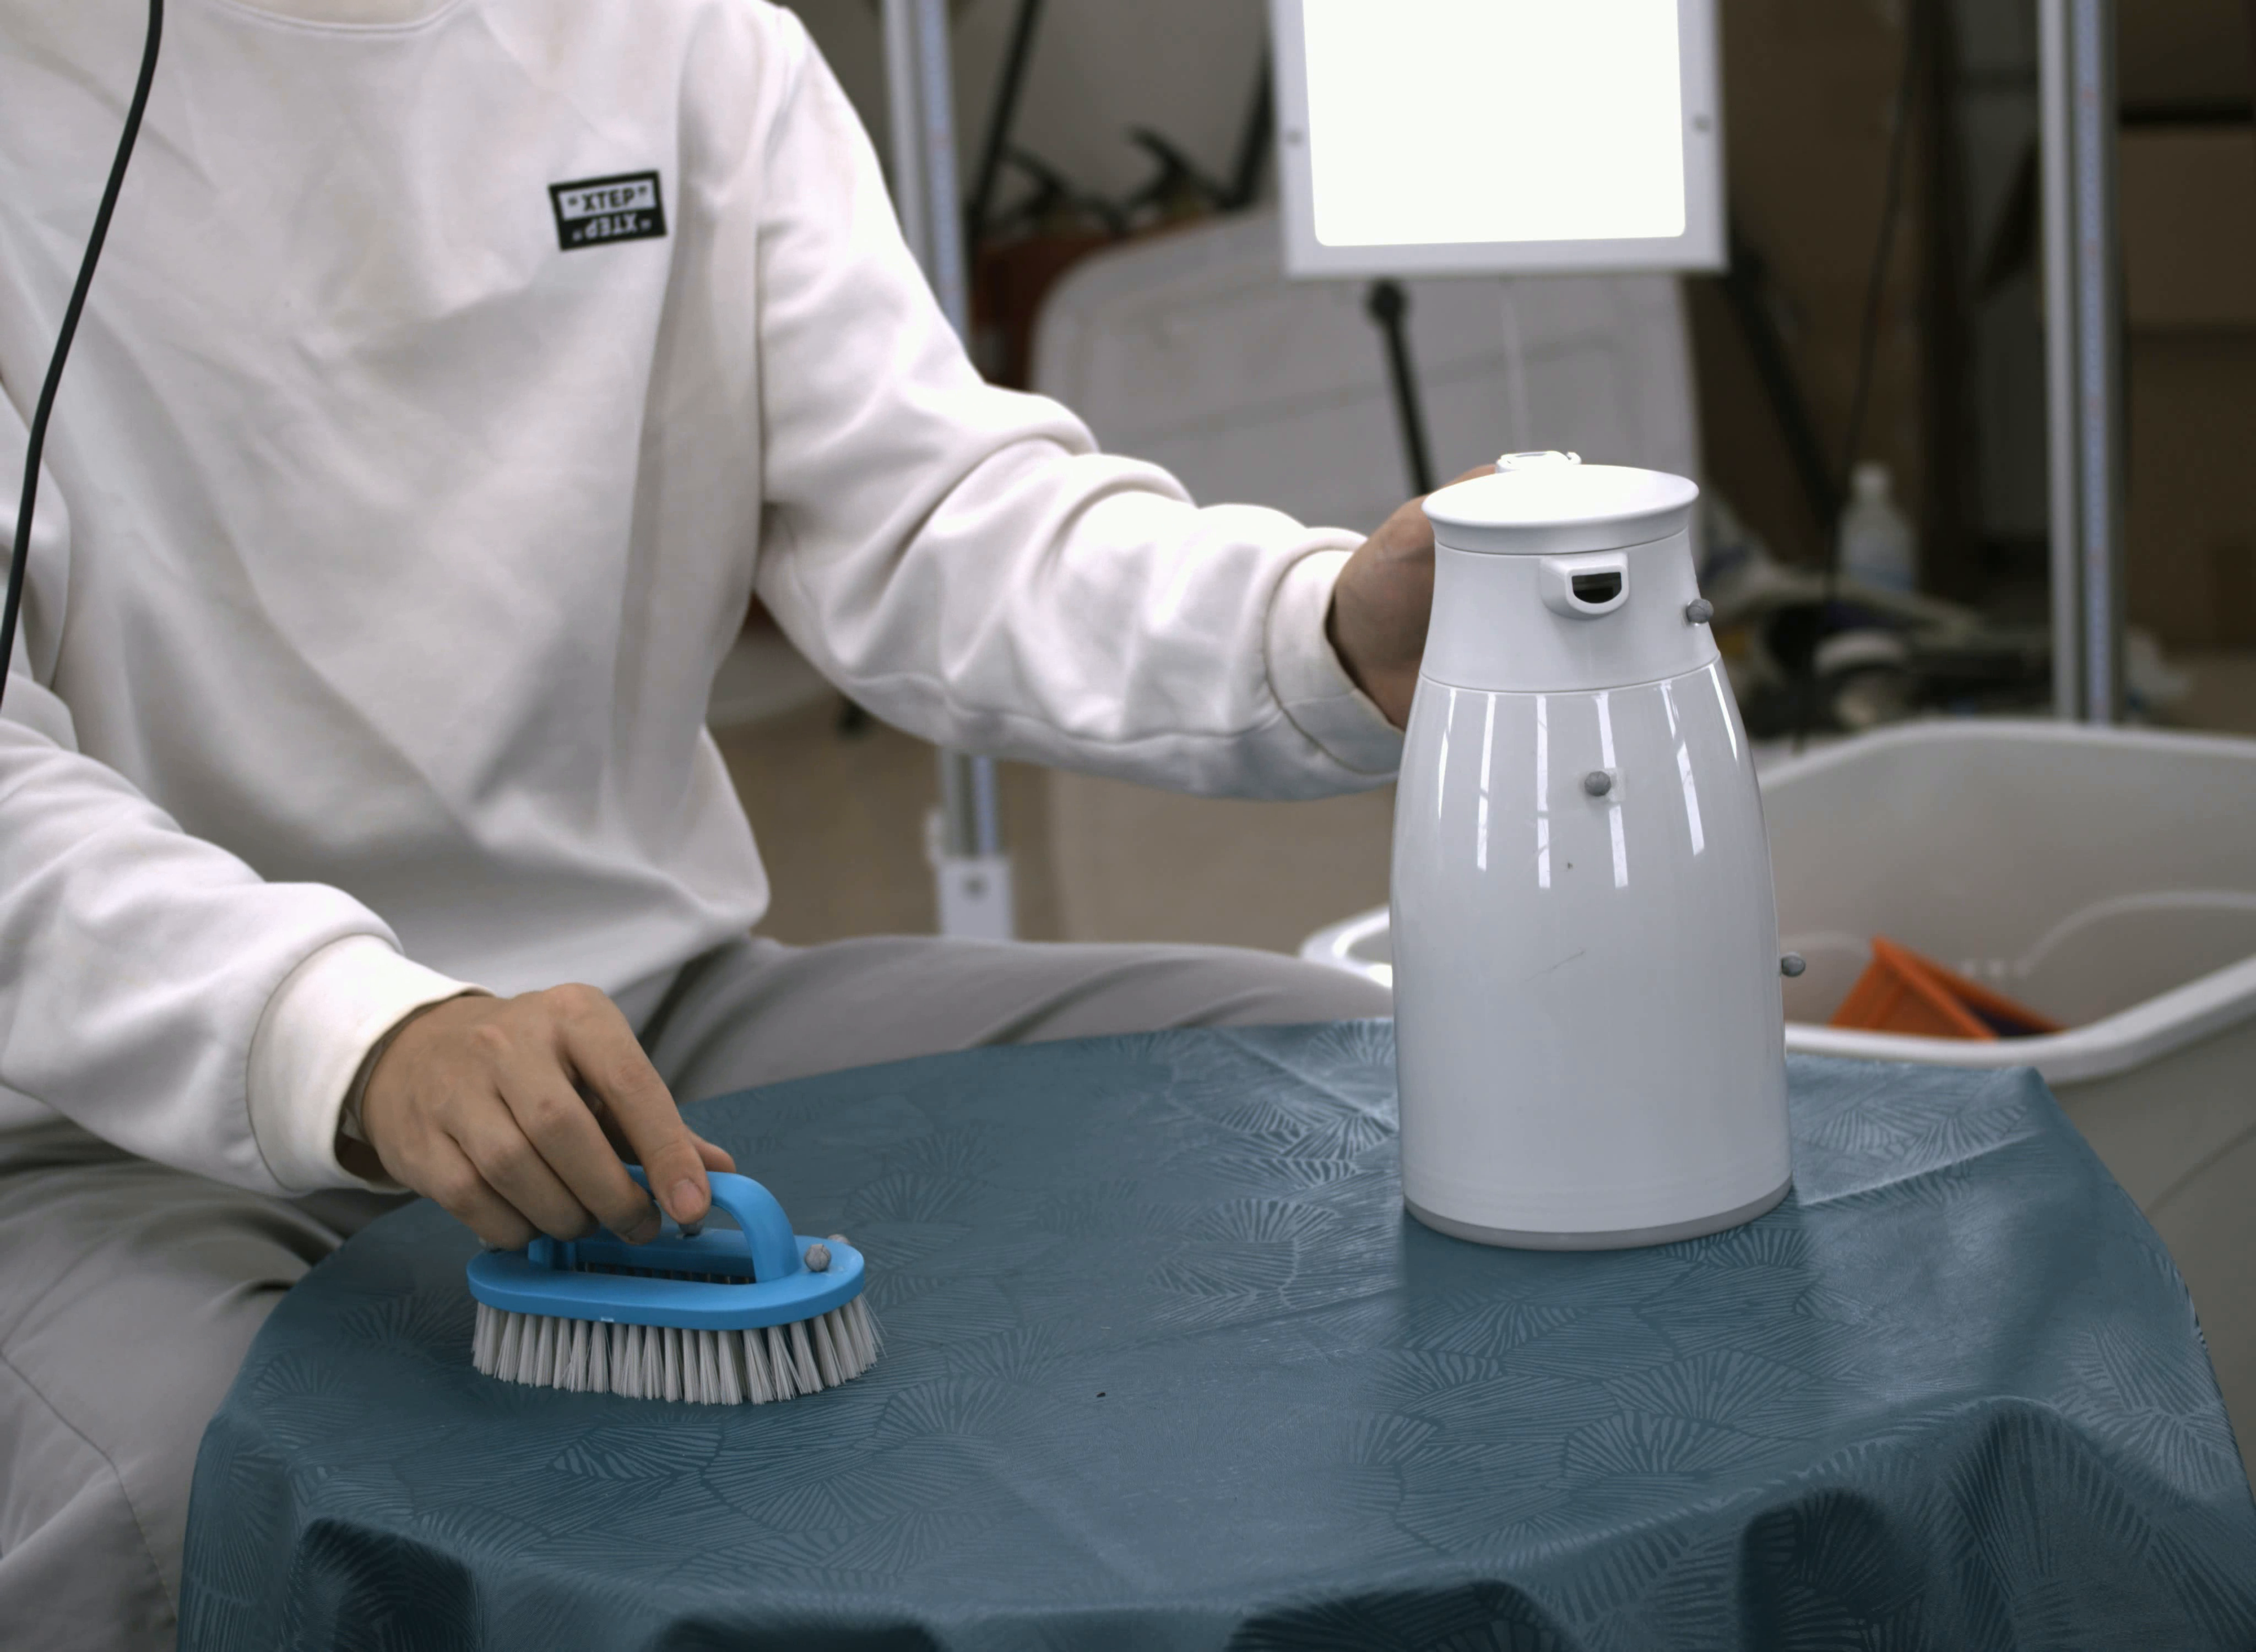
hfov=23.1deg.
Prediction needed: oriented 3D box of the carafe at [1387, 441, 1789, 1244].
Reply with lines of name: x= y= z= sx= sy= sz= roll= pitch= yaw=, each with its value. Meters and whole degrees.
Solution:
carafe: x=0.146 y=-0.002 z=1.844 sx=0.131 sy=0.249 sz=0.168 roll=-6 pitch=13 yaw=-5

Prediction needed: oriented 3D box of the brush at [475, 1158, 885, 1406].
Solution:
brush: x=-0.149 y=0.139 z=1.767 sx=0.144 sy=0.064 sz=0.082 roll=1 pitch=20 yaw=33
